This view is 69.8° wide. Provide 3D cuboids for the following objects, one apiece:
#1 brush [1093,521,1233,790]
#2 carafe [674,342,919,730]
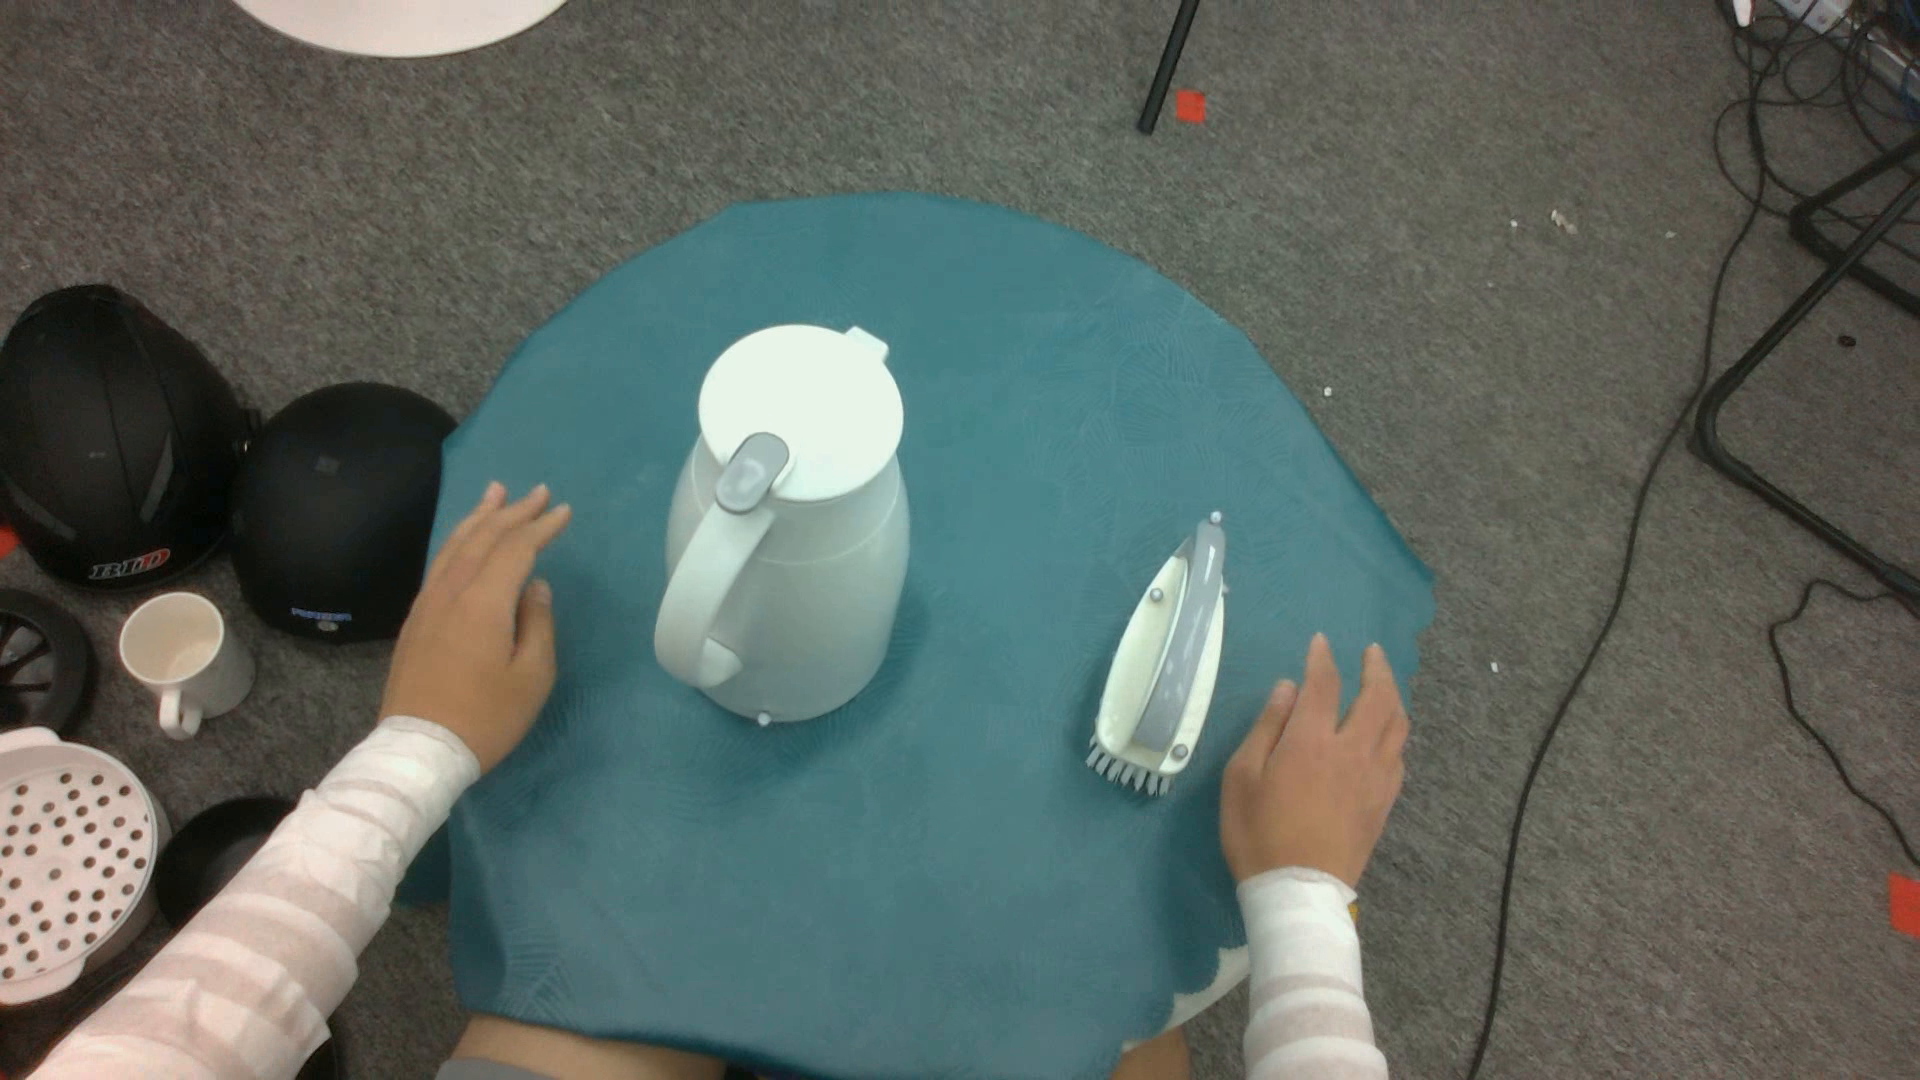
[{"bbox_3d":[0.135,0.053,0.826,0.061,0.094,0.176,22,60,1],"label":"brush"},{"bbox_3d":[-0.092,0.014,0.723,0.132,0.247,0.168,28,63,5],"label":"carafe"}]
